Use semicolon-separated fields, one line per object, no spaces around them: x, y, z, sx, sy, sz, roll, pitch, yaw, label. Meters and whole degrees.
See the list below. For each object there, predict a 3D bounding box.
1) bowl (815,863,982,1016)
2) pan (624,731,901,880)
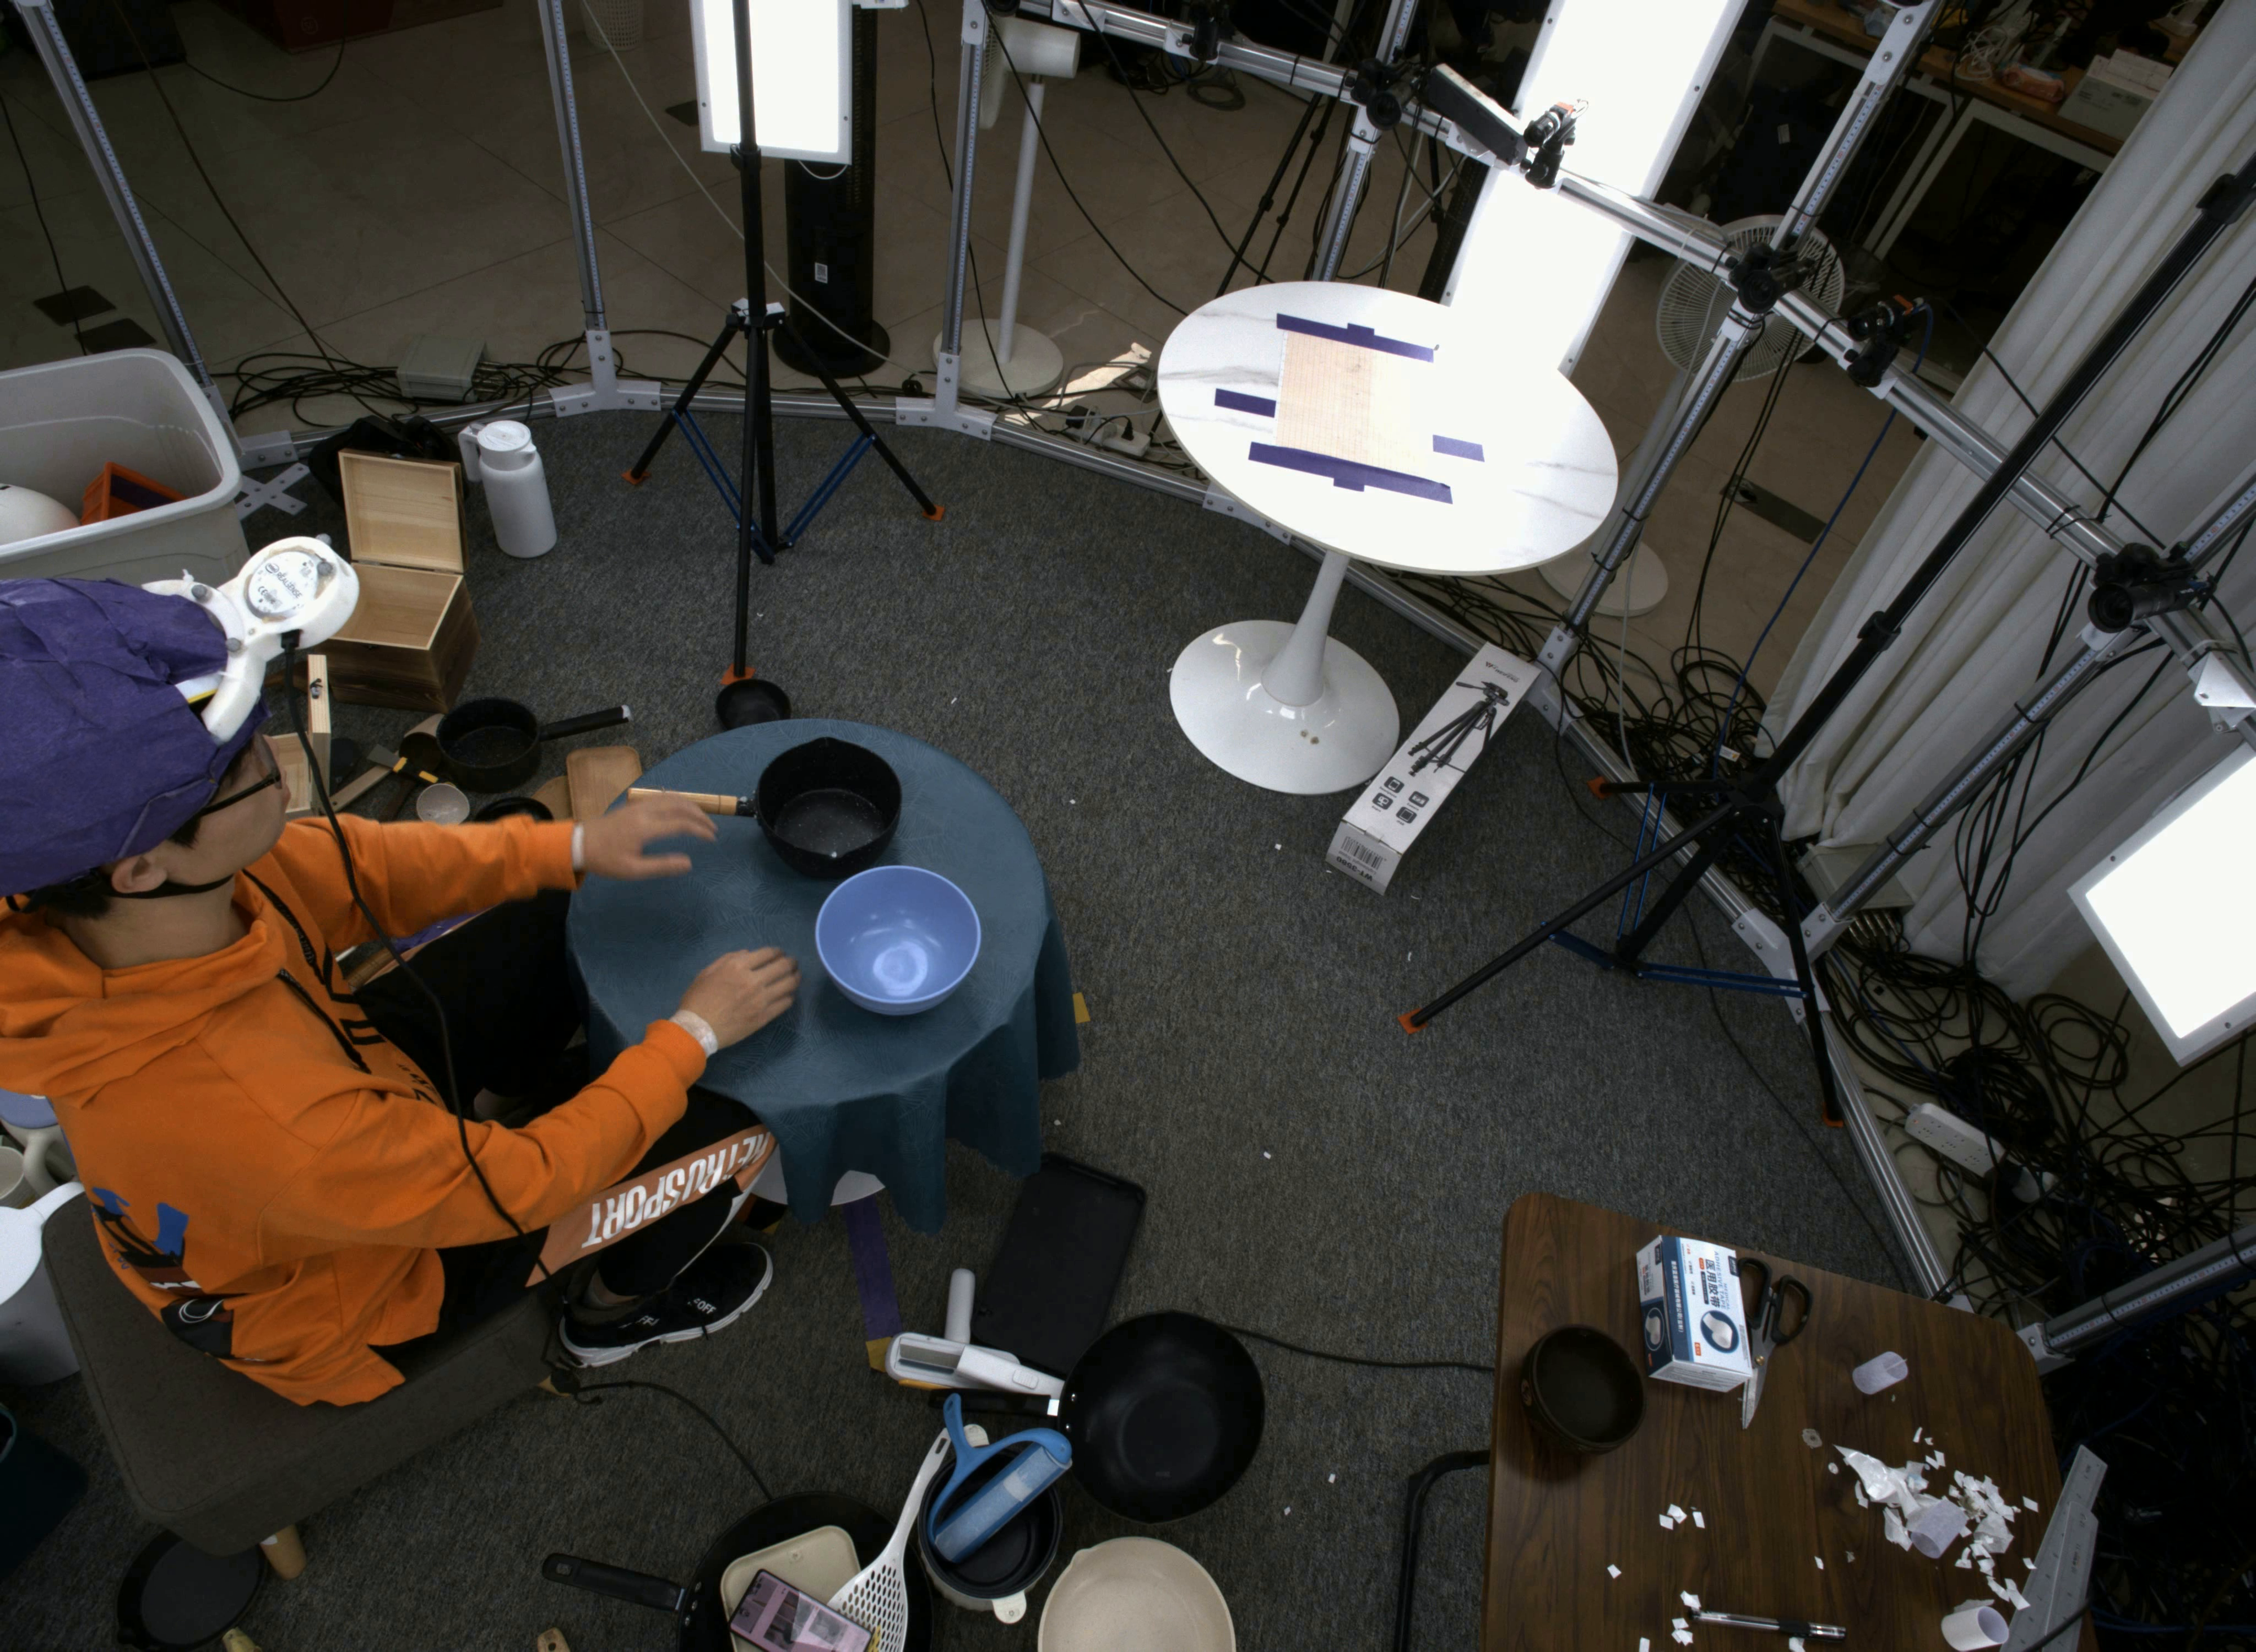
-0.279;0.151;1.577;0.196;0.097;0.193;9;52;-9;bowl
-0.462;-0.018;1.647;0.344;0.110;0.203;-4;56;-19;pan
